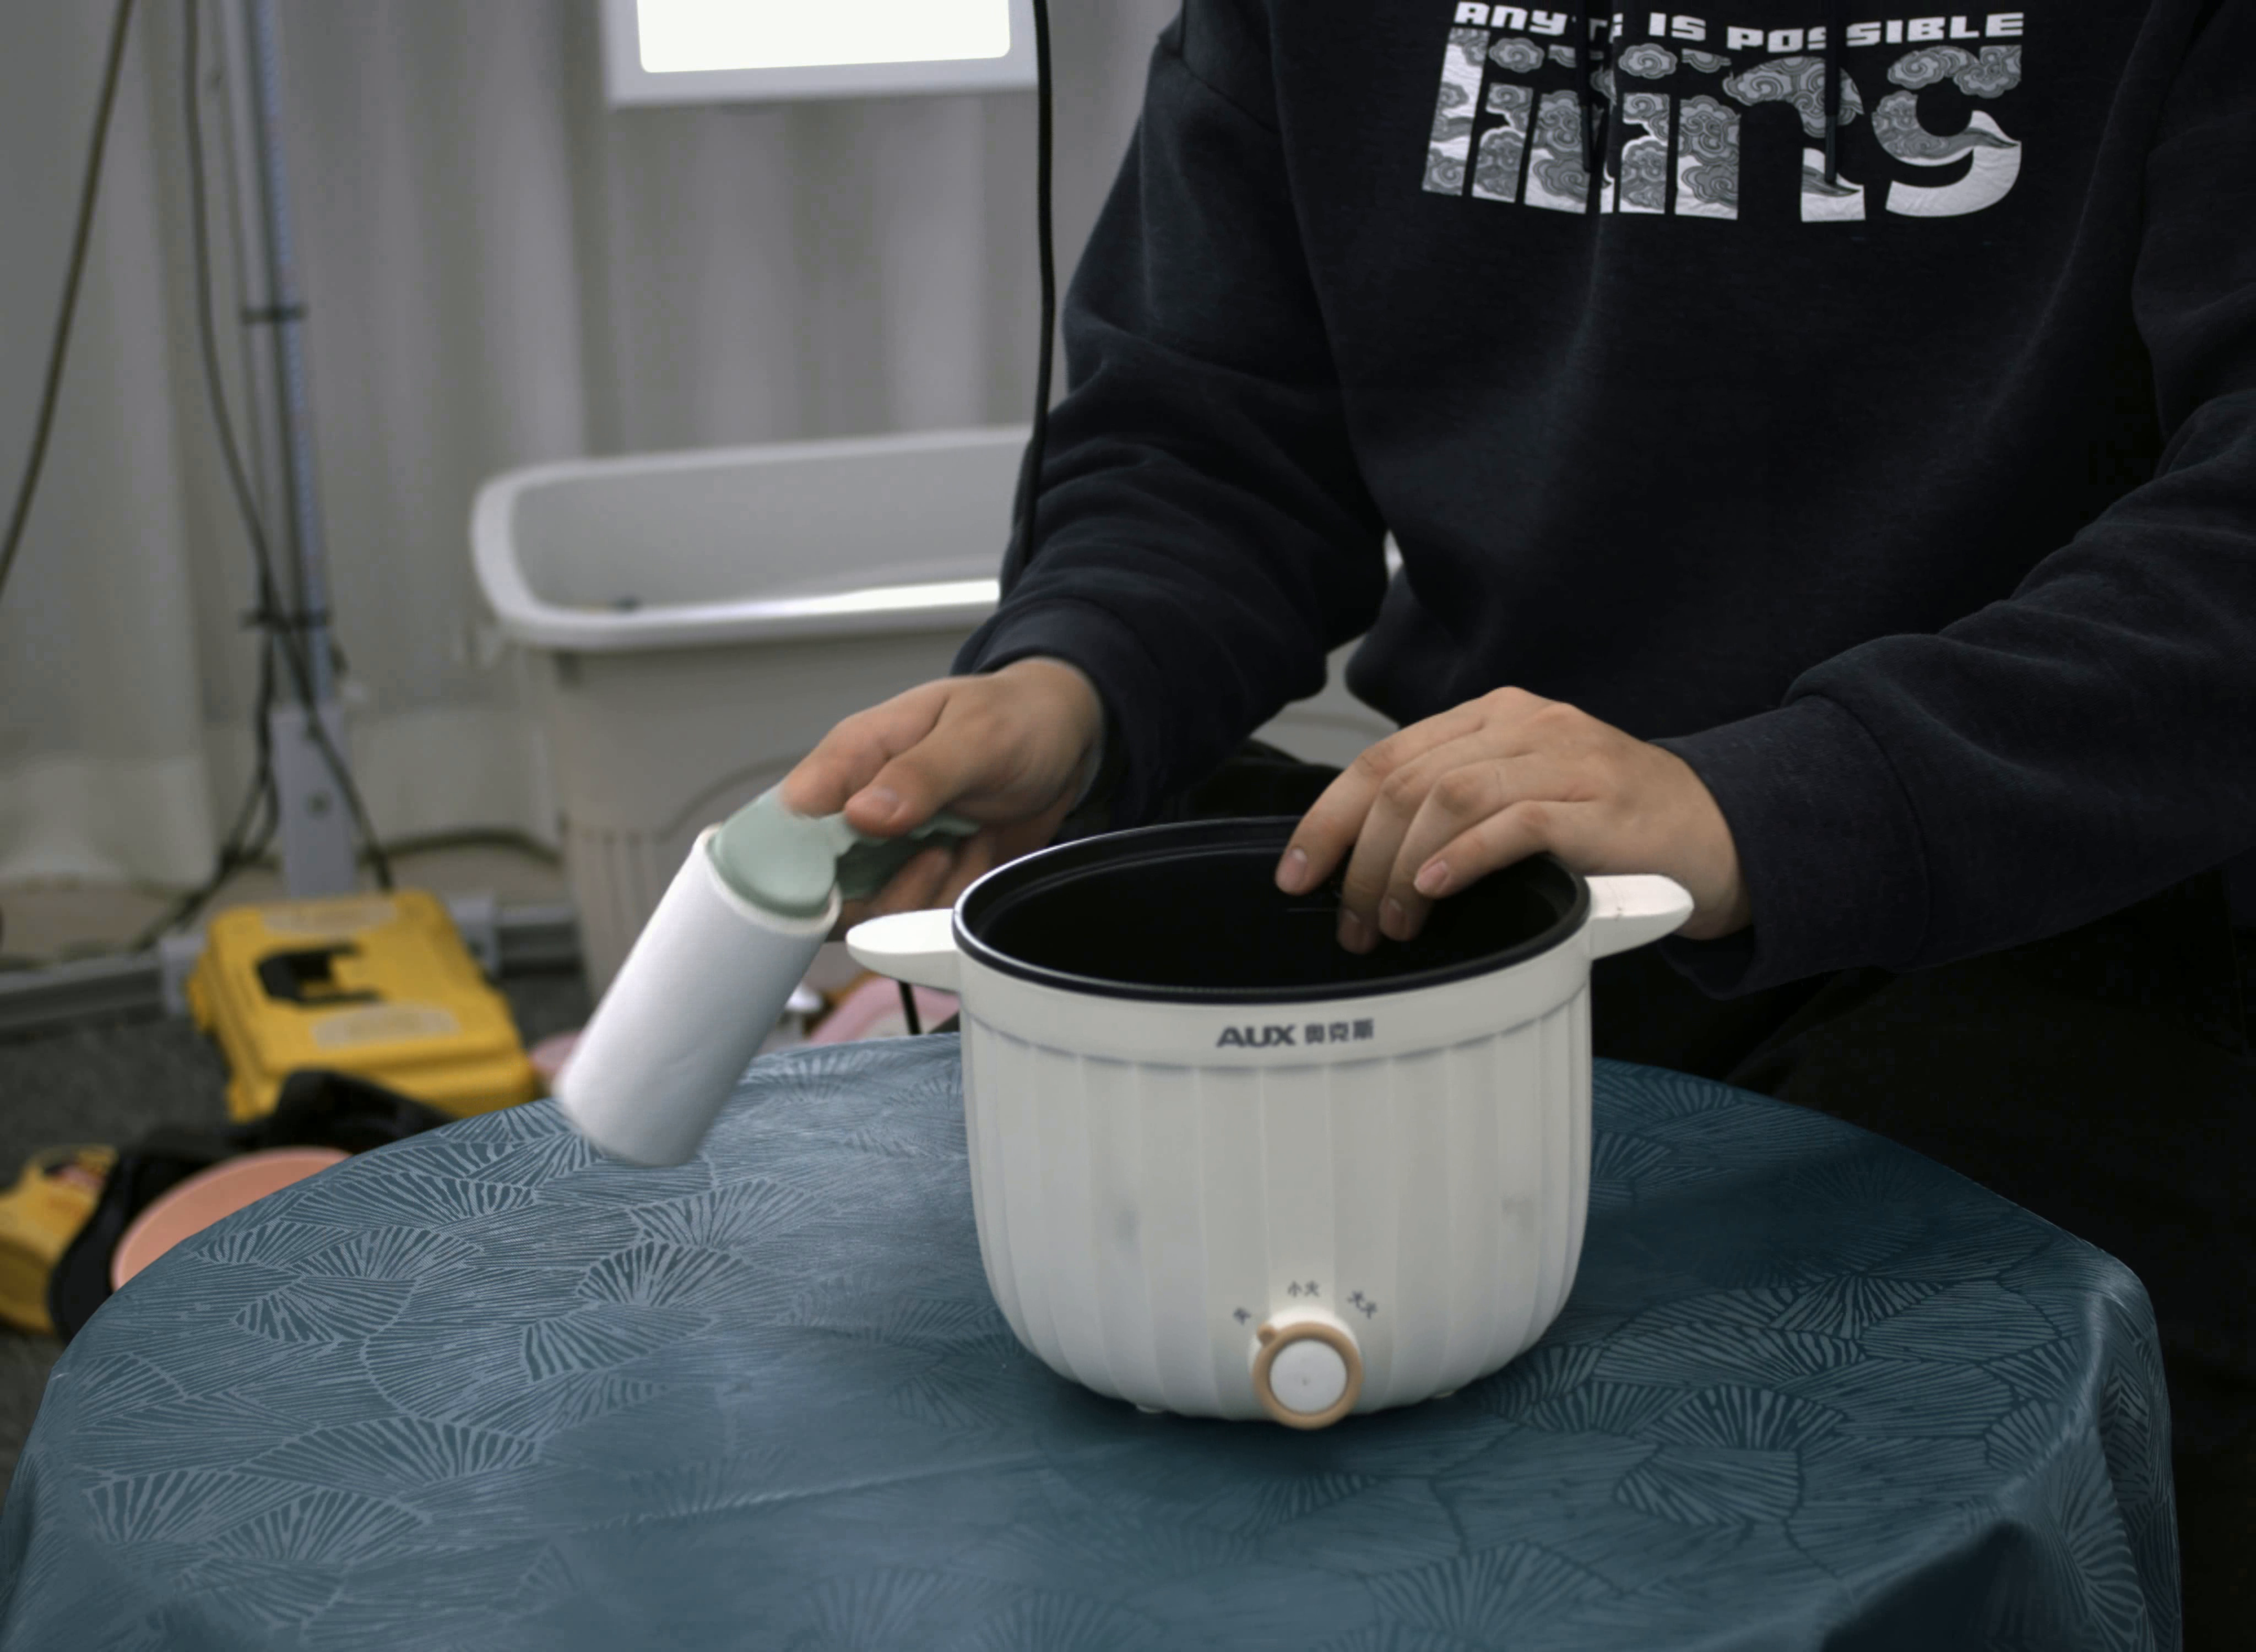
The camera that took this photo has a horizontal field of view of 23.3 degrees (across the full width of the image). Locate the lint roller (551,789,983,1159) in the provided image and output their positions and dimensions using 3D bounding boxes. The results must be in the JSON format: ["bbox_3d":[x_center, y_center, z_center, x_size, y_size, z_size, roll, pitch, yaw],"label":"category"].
[{"bbox_3d":[-0.102,0.025,1.705,0.048,0.116,0.198,37,29,7],"label":"lint roller"}]

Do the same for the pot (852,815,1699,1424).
[{"bbox_3d":[0.046,0.085,1.552,0.239,0.142,0.191,-4,11,-1],"label":"pot"}]
